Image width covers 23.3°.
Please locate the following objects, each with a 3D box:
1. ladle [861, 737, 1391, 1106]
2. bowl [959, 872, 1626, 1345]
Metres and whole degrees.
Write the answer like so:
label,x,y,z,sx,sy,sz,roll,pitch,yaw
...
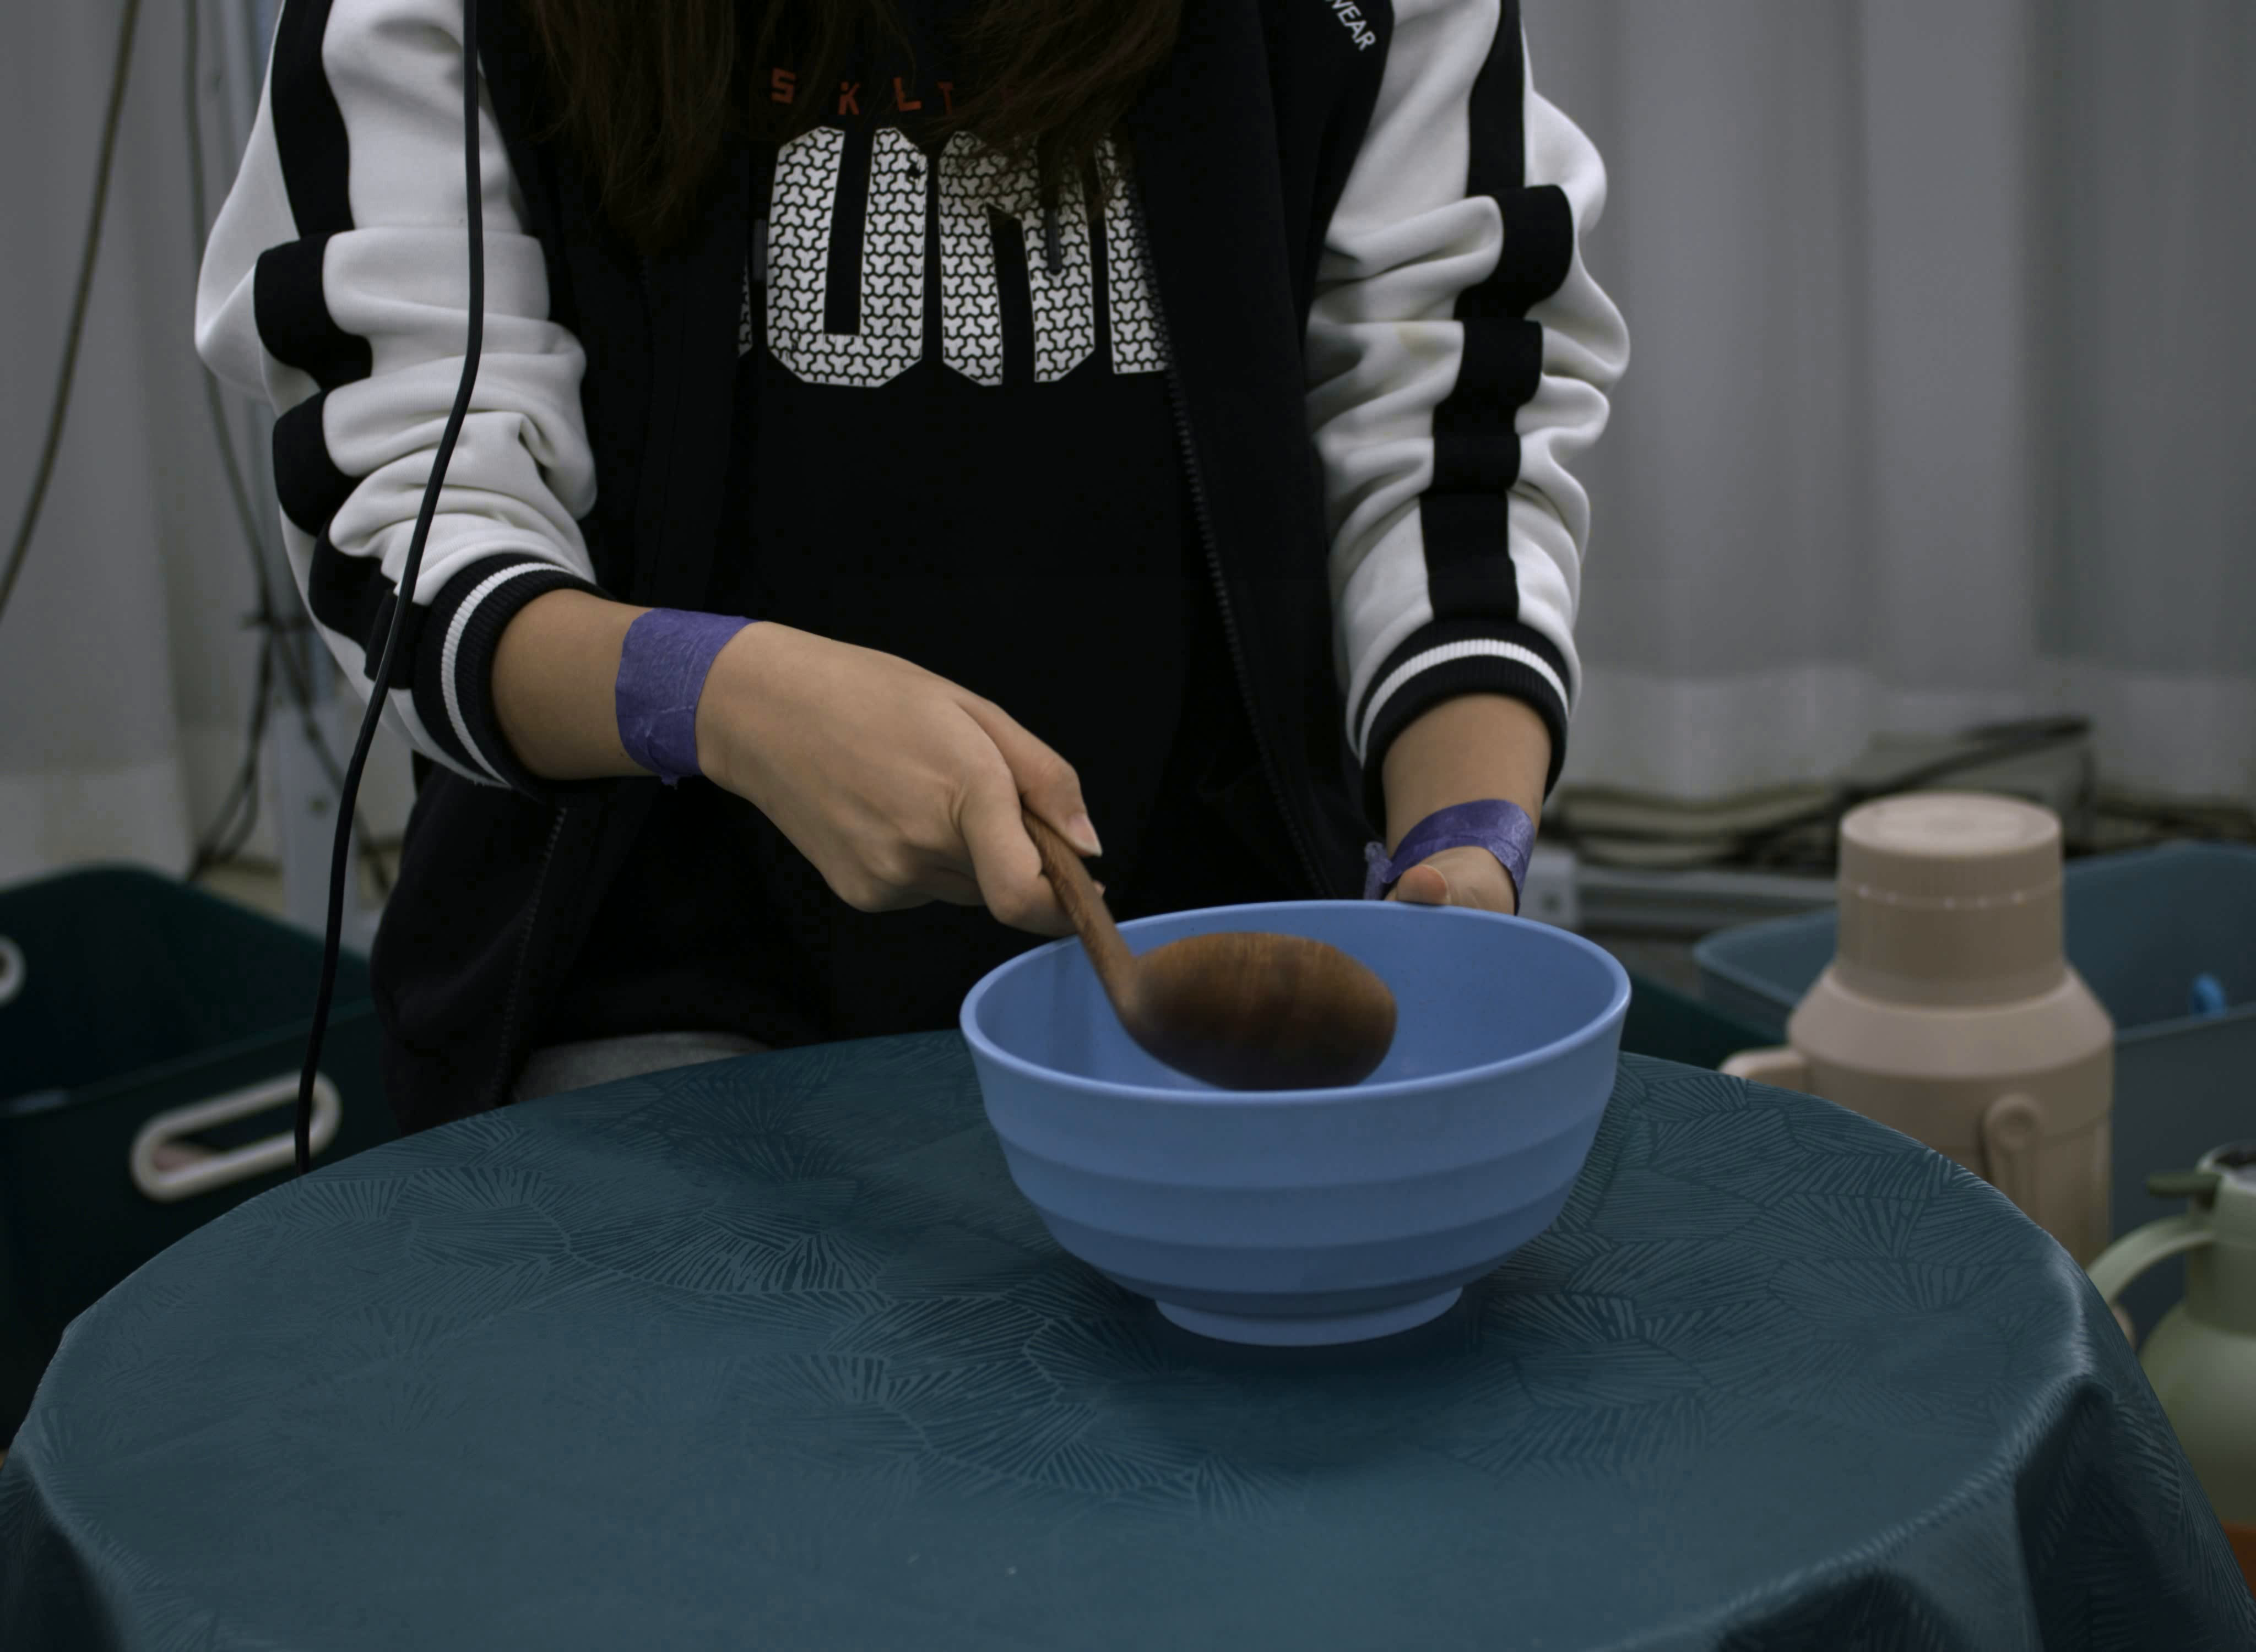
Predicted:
label,x,y,z,sx,sy,sz,roll,pitch,yaw
ladle,-0.006,0.015,1.649,0.065,0.075,0.263,-46,37,0
bowl,0.053,0.091,1.611,0.196,0.095,0.198,-7,18,2
